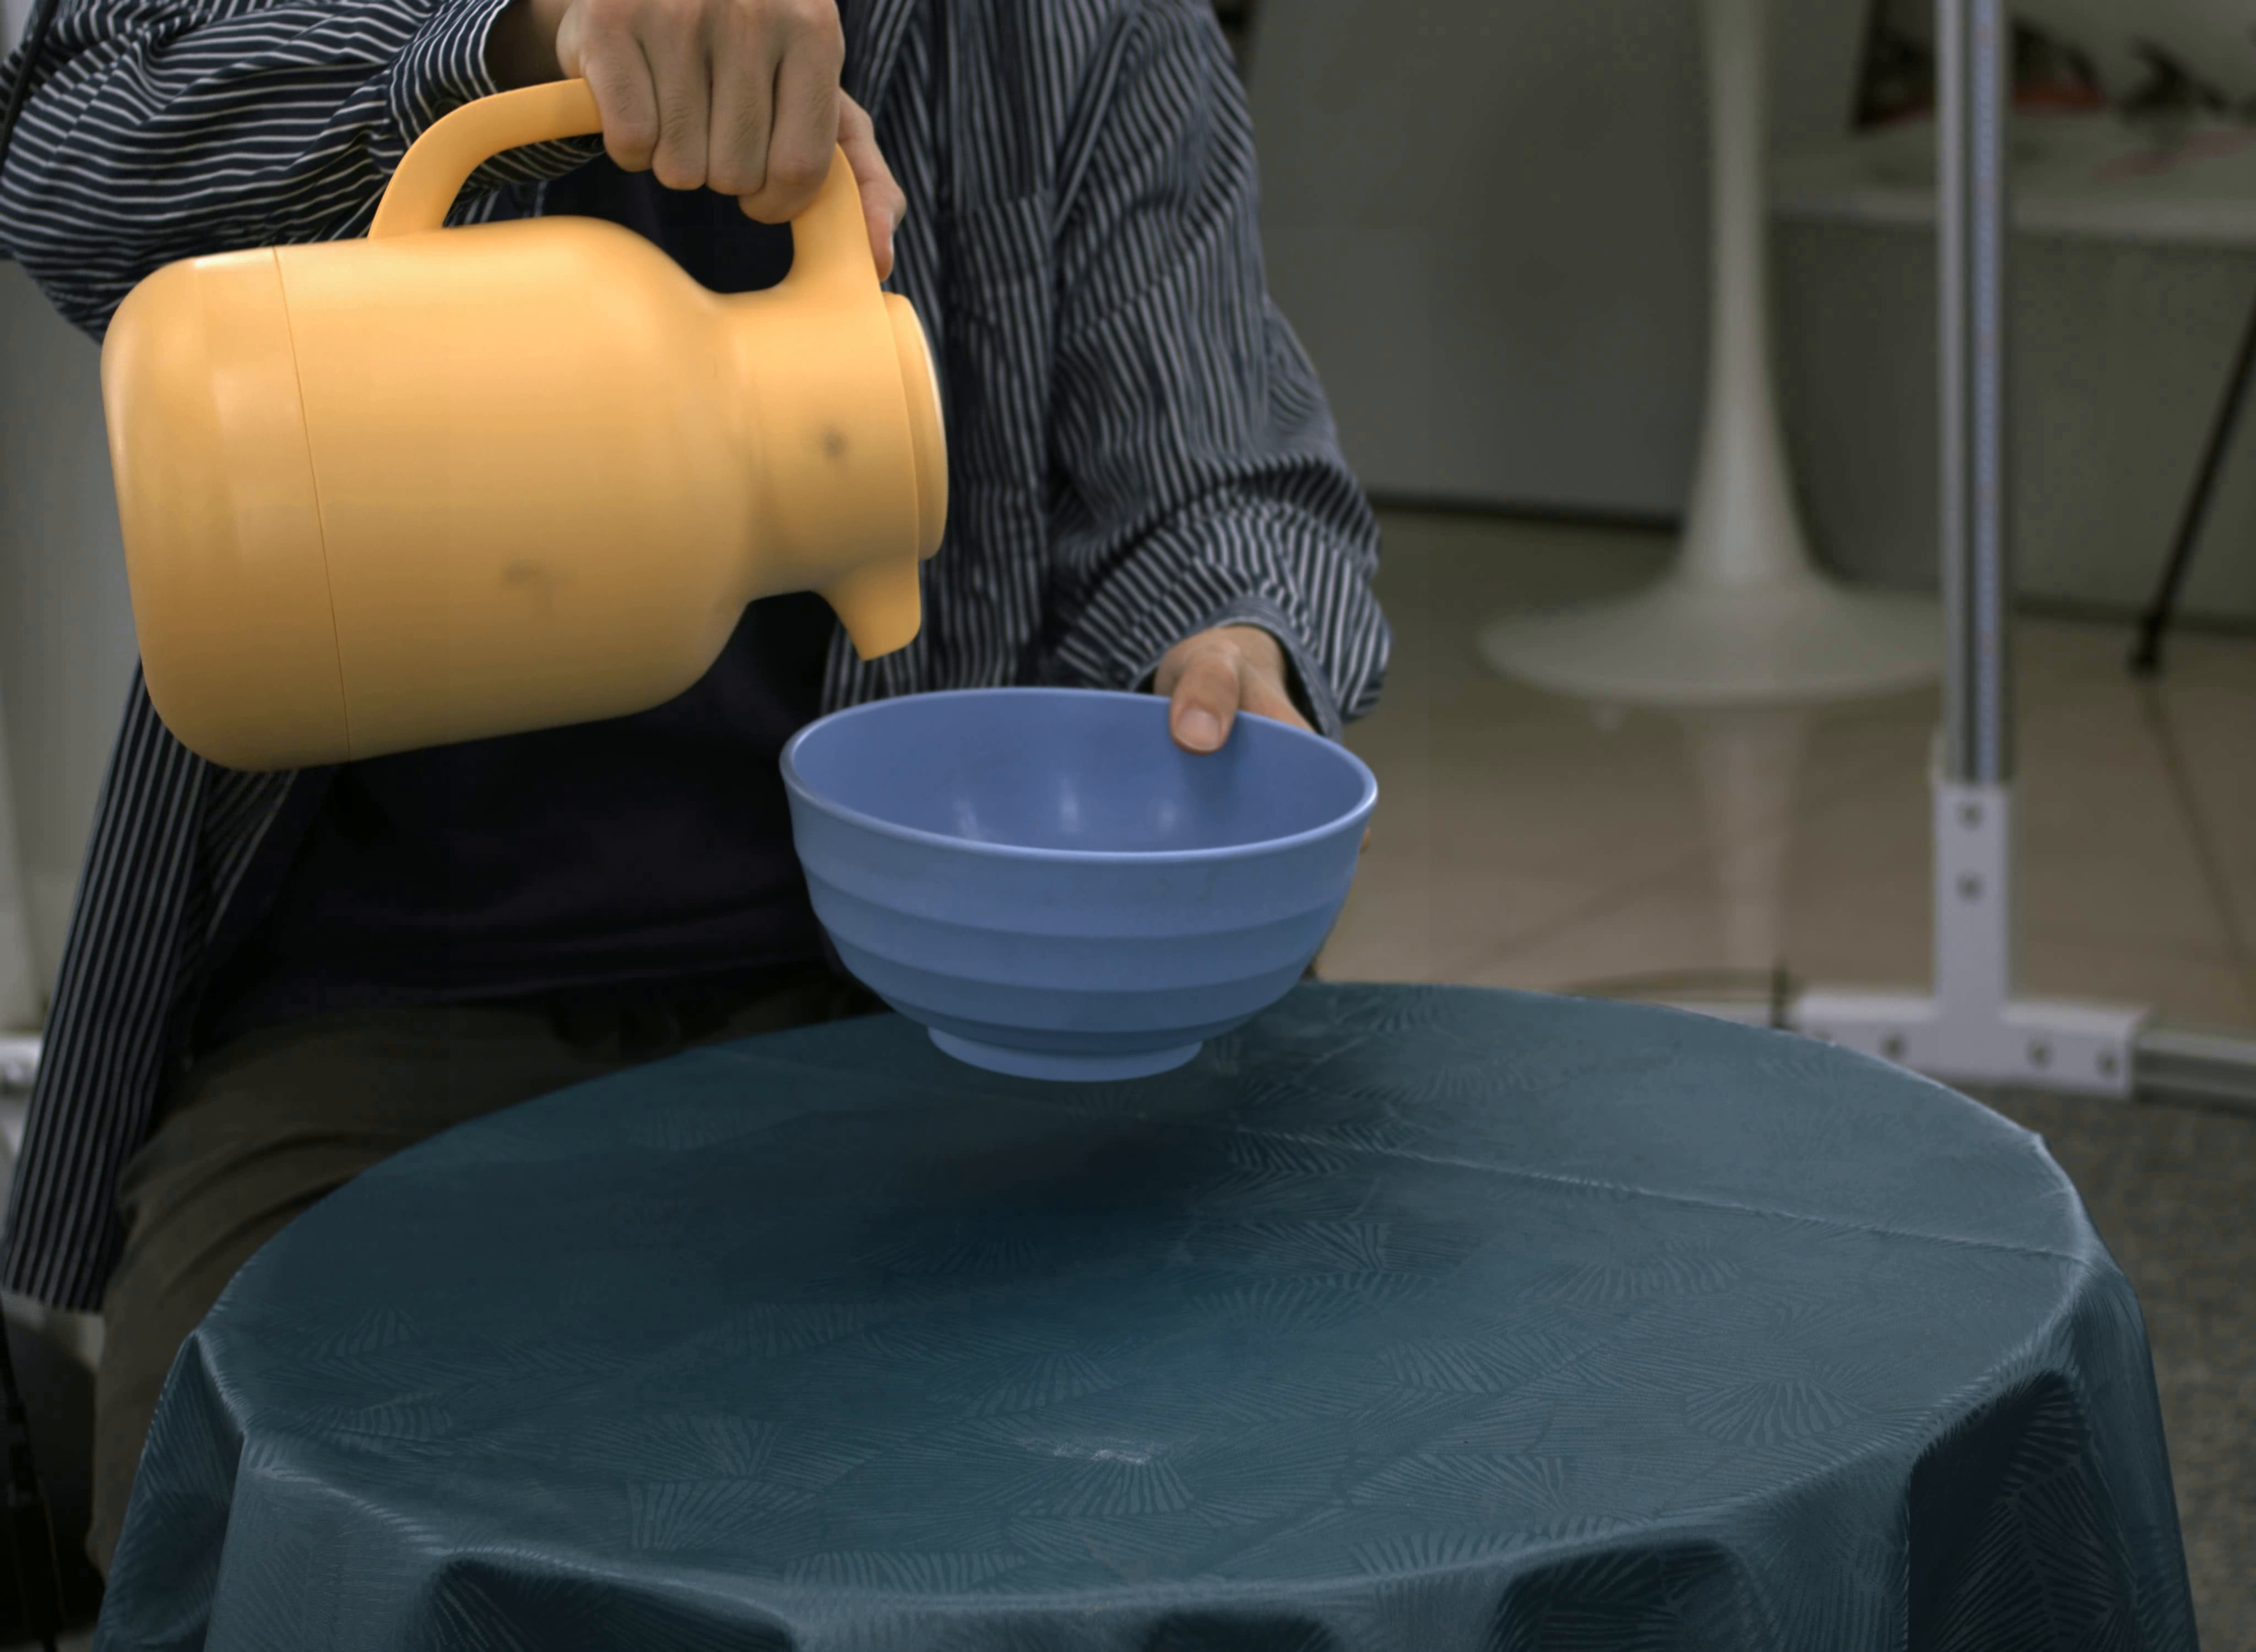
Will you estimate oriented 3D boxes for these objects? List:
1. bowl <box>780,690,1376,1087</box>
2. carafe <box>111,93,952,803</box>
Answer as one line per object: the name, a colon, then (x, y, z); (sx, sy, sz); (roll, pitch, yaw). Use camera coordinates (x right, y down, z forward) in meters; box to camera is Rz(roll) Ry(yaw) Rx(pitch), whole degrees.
bowl: (-0.018, 0.026, 1.765); (0.194, 0.096, 0.197); (2, 16, -1)
carafe: (-0.188, -0.122, 1.714); (0.256, 0.205, 0.164); (-9, 6, -7)
